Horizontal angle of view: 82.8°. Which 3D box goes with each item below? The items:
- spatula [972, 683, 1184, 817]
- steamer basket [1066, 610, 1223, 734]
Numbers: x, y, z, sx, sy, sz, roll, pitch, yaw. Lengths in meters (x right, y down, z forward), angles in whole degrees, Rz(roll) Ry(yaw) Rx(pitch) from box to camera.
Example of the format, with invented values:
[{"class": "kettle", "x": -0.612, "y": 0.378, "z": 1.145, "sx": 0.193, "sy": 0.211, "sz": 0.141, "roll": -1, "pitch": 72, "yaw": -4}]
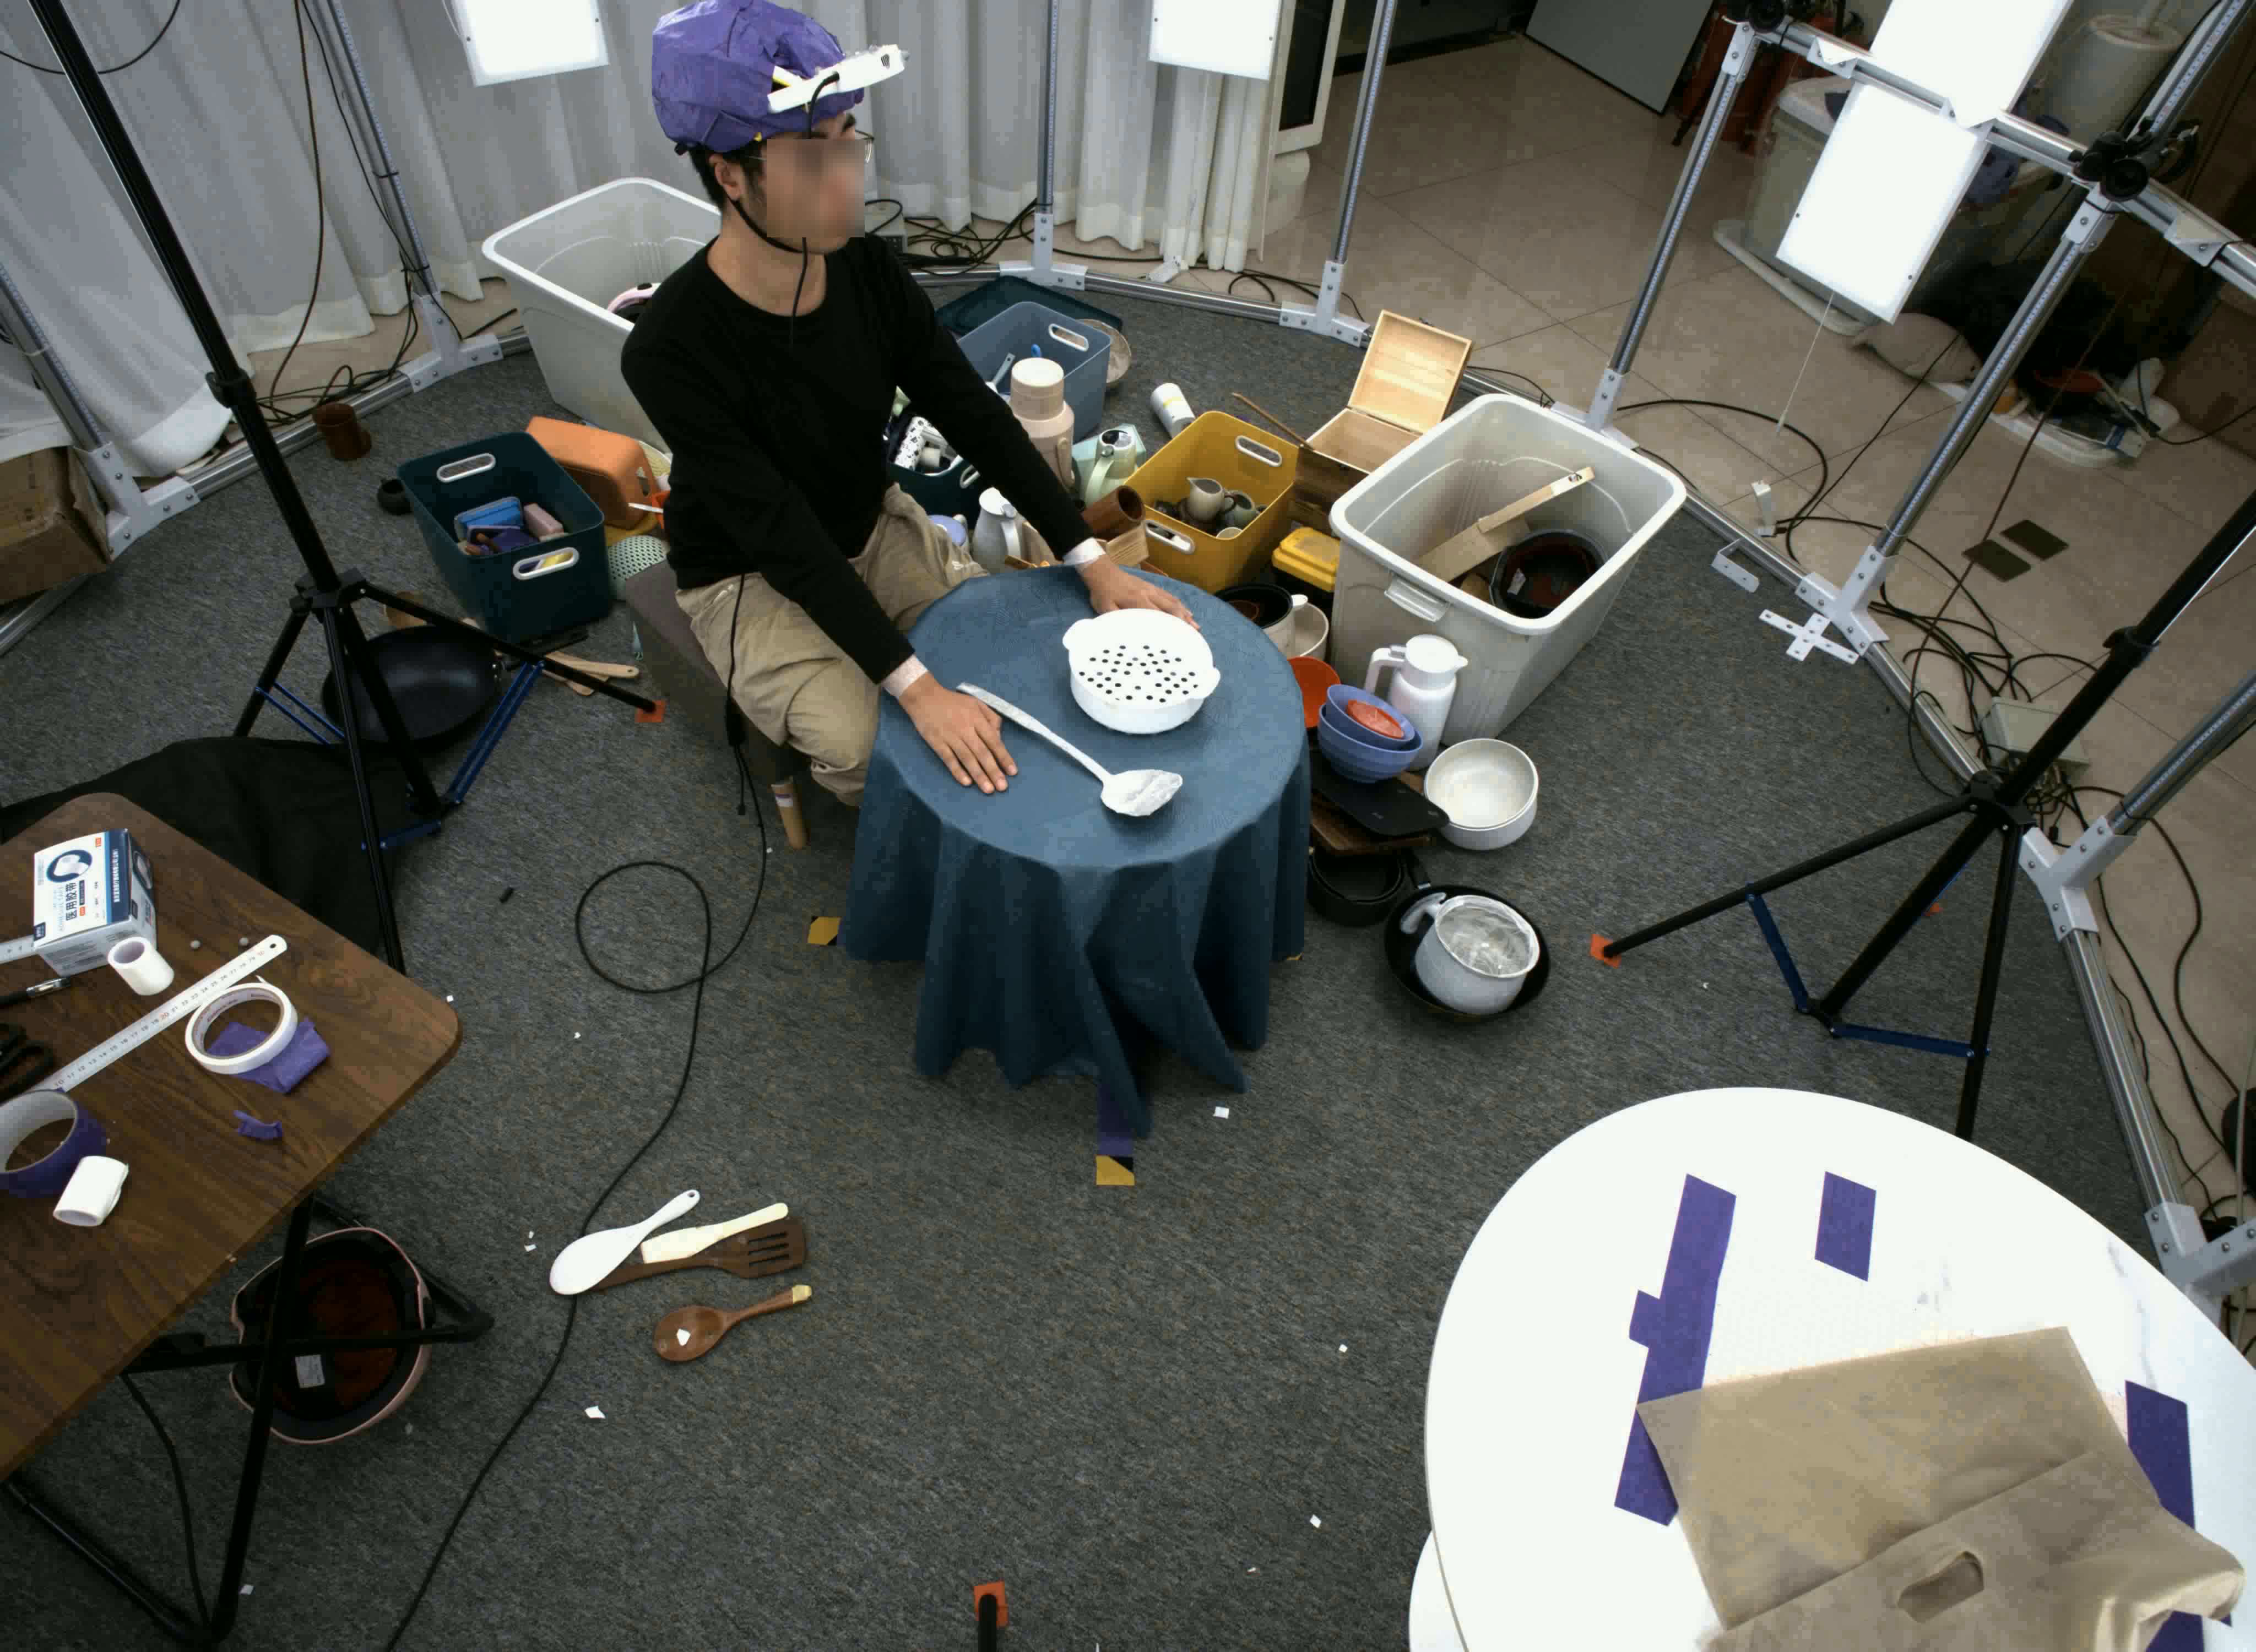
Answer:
[{"class": "spatula", "x": -0.087, "y": -0.116, "z": 1.740, "sx": 0.369, "sy": 0.044, "sz": 0.100, "roll": 34, "pitch": 57, "yaw": 23}, {"class": "steamer basket", "x": 0.021, "y": -0.217, "z": 1.814, "sx": 0.232, "sy": 0.067, "sz": 0.205, "roll": 23, "pitch": 51, "yaw": 16}]
